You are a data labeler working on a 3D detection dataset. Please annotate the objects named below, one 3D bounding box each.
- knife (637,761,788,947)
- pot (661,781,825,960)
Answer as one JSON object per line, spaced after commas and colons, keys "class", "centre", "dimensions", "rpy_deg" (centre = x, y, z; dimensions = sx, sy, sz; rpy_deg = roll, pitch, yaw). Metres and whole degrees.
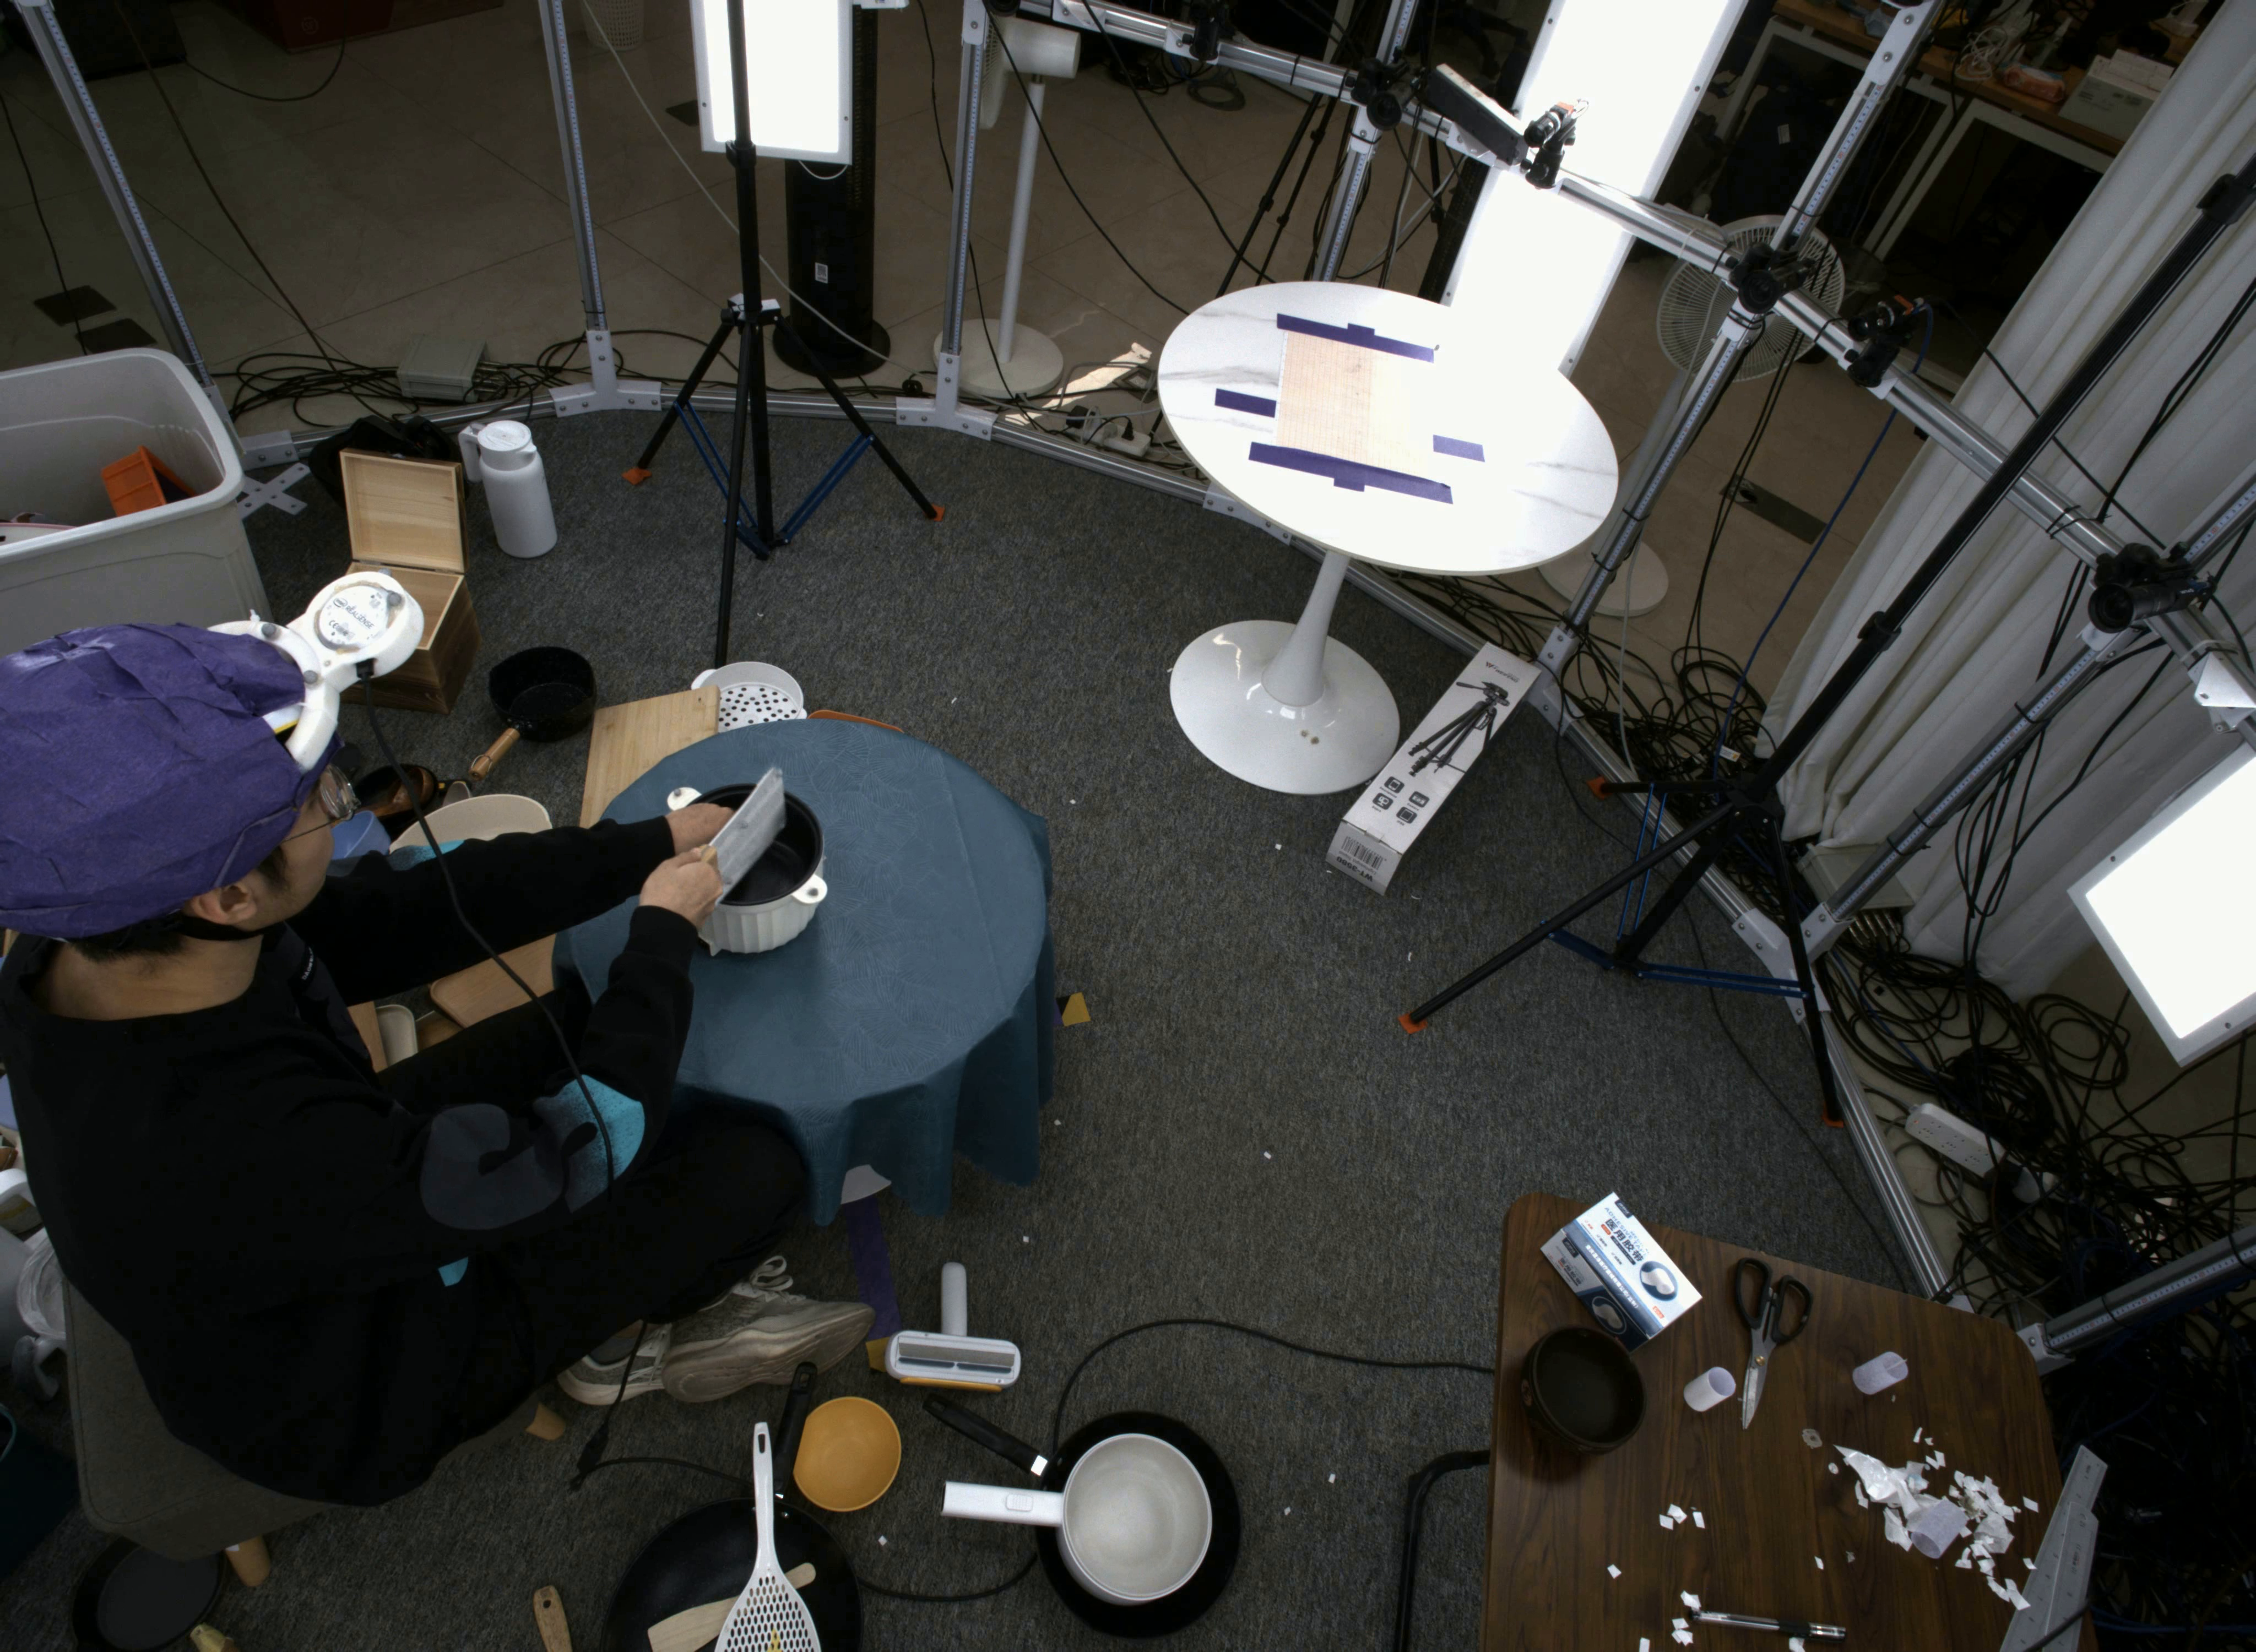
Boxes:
{"class": "knife", "centre": [-0.454, 0.032, 1.436], "dimensions": [0.021, 0.117, 0.312], "rpy_deg": [11, 31, 10]}
{"class": "pot", "centre": [-0.462, 0.054, 1.573], "dimensions": [0.236, 0.145, 0.190], "rpy_deg": [33, 56, 10]}
